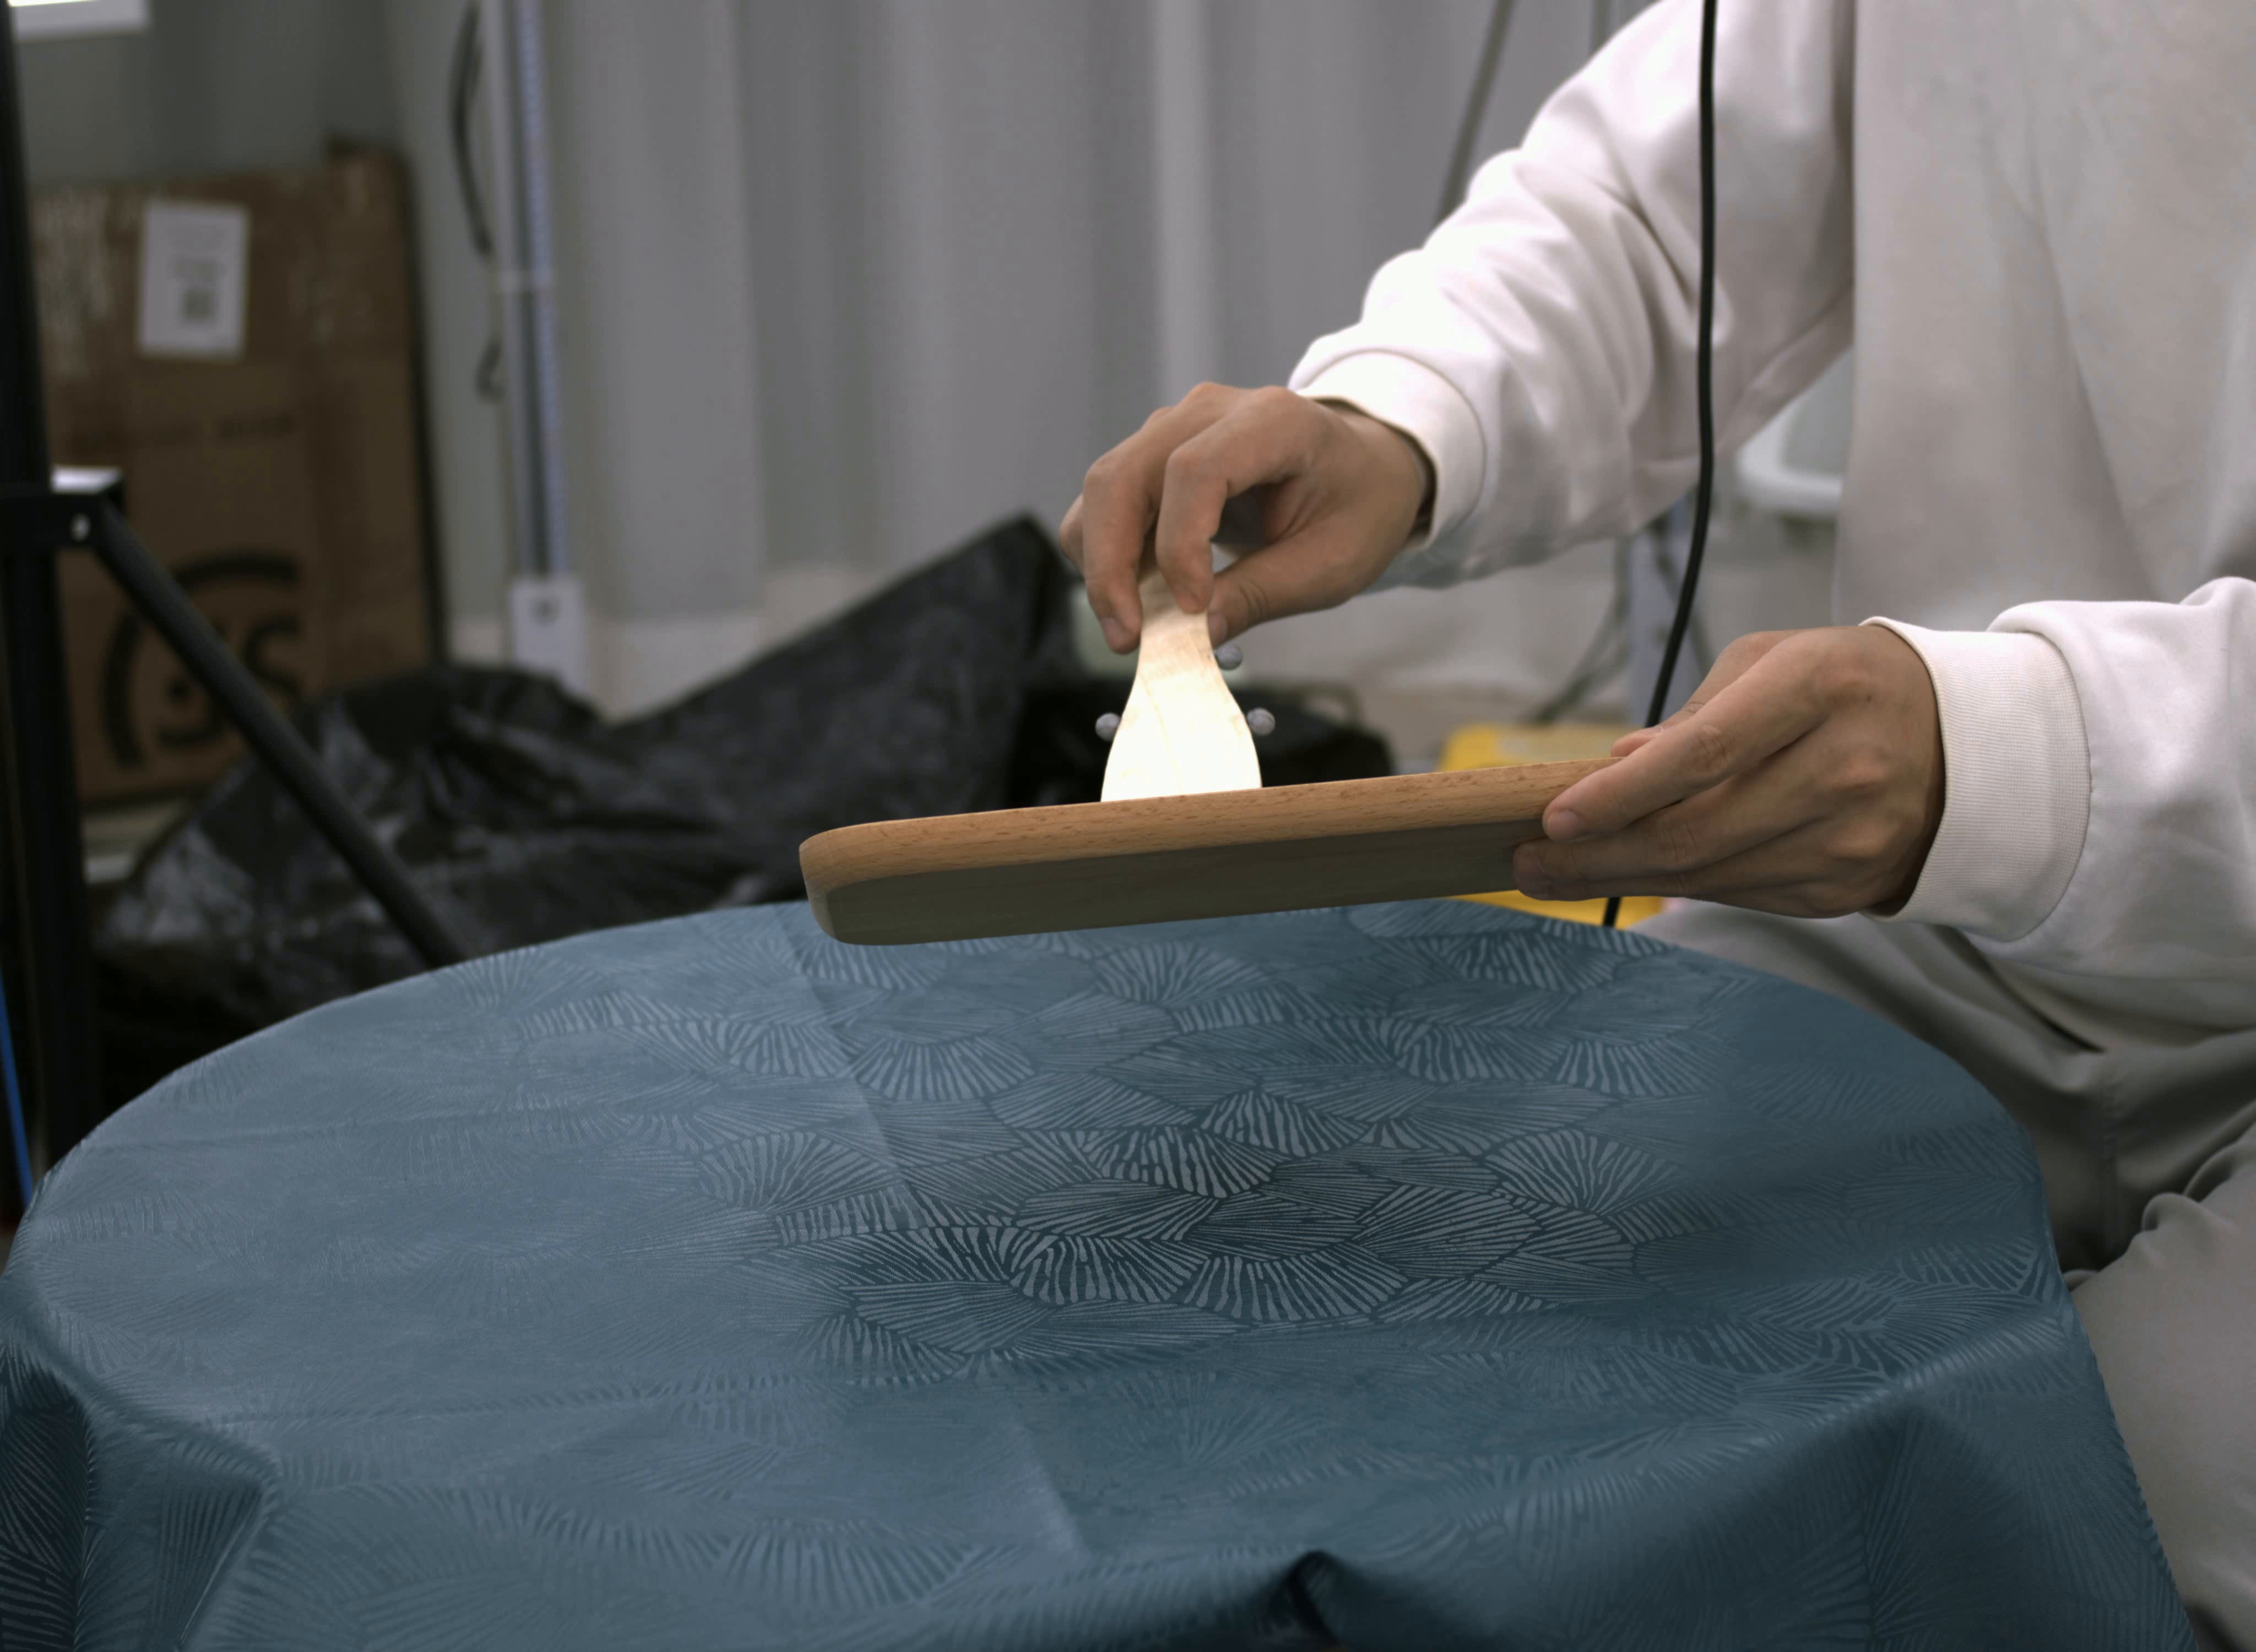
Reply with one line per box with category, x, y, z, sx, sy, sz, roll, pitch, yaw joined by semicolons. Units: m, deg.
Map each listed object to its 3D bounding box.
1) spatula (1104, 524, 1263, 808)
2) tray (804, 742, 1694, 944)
spatula;0.013;-0.043;1.634;0.050;0.005;0.210;-14;30;6
tray;0.034;0.006;1.514;0.249;0.023;0.130;-5;-8;0
